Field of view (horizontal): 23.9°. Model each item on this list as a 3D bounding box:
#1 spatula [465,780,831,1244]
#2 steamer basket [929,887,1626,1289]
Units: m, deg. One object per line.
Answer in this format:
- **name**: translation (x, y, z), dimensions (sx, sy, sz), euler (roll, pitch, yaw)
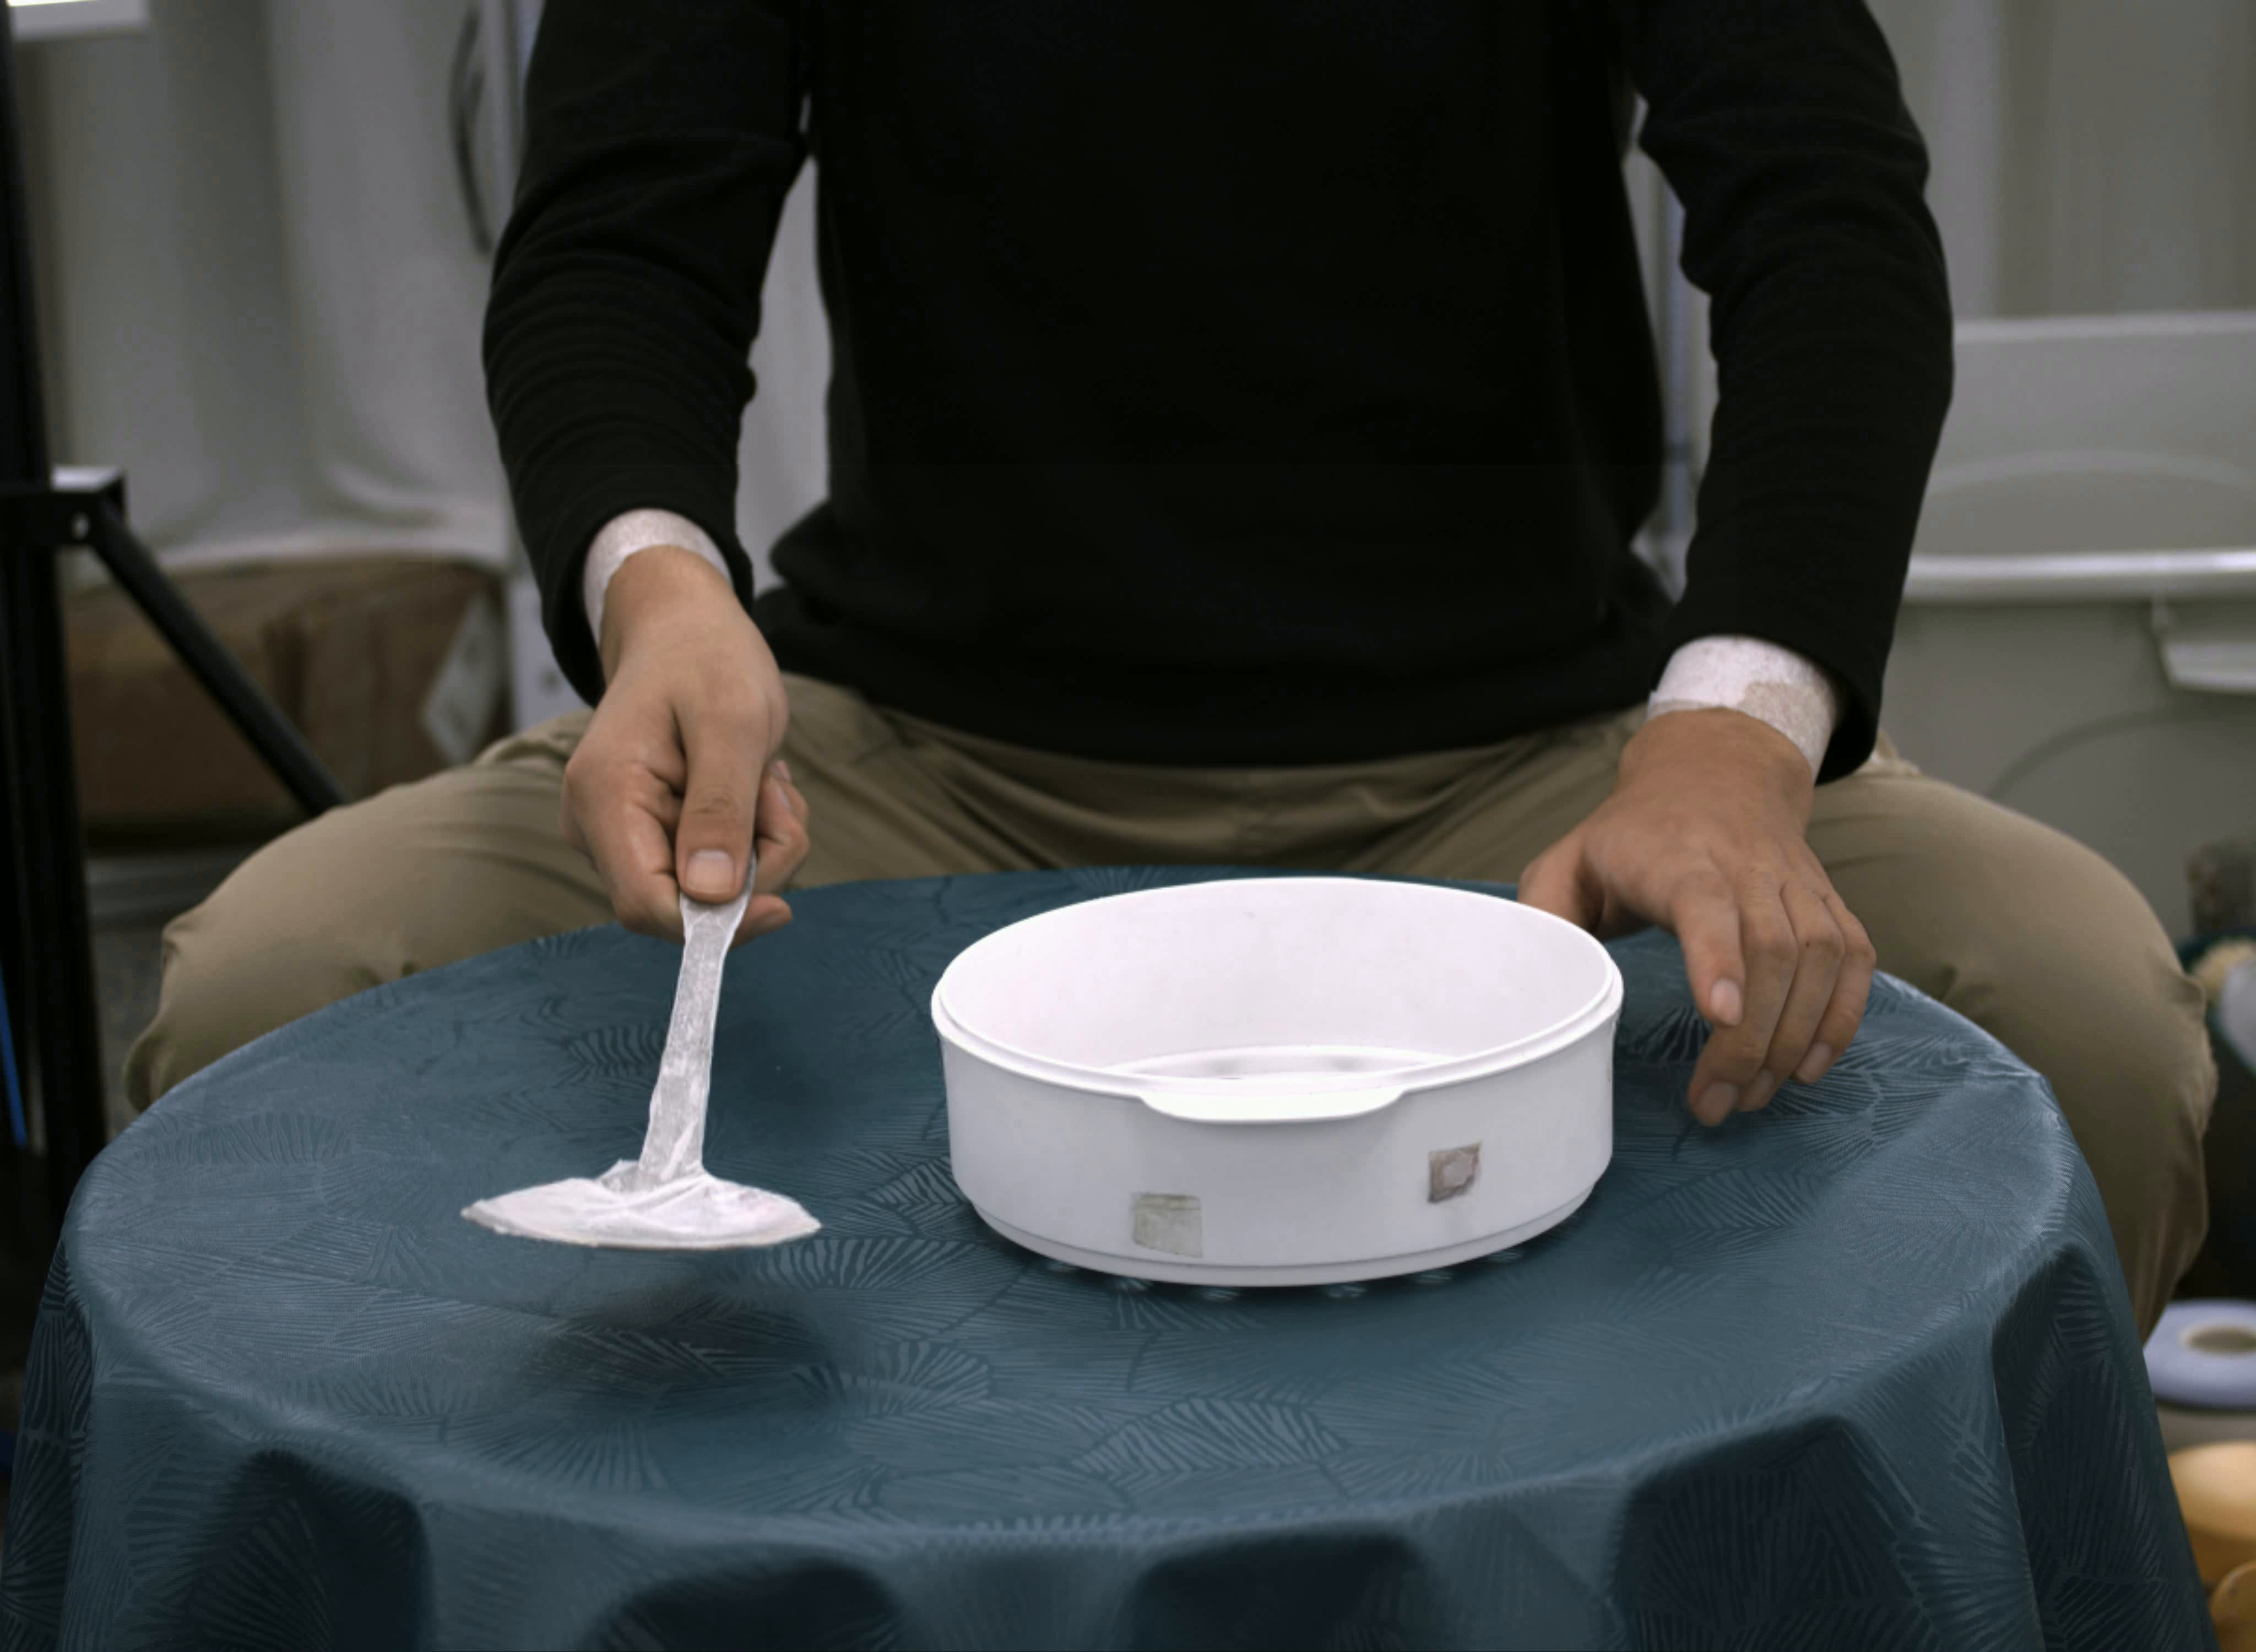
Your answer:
- **spatula**: translation (-0.124, 0.046, 1.568), dimensions (0.098, 0.044, 0.367), euler (0, 26, 2)
- **steamer basket**: translation (0.044, 0.075, 1.538), dimensions (0.201, 0.069, 0.231), euler (0, 15, 4)
